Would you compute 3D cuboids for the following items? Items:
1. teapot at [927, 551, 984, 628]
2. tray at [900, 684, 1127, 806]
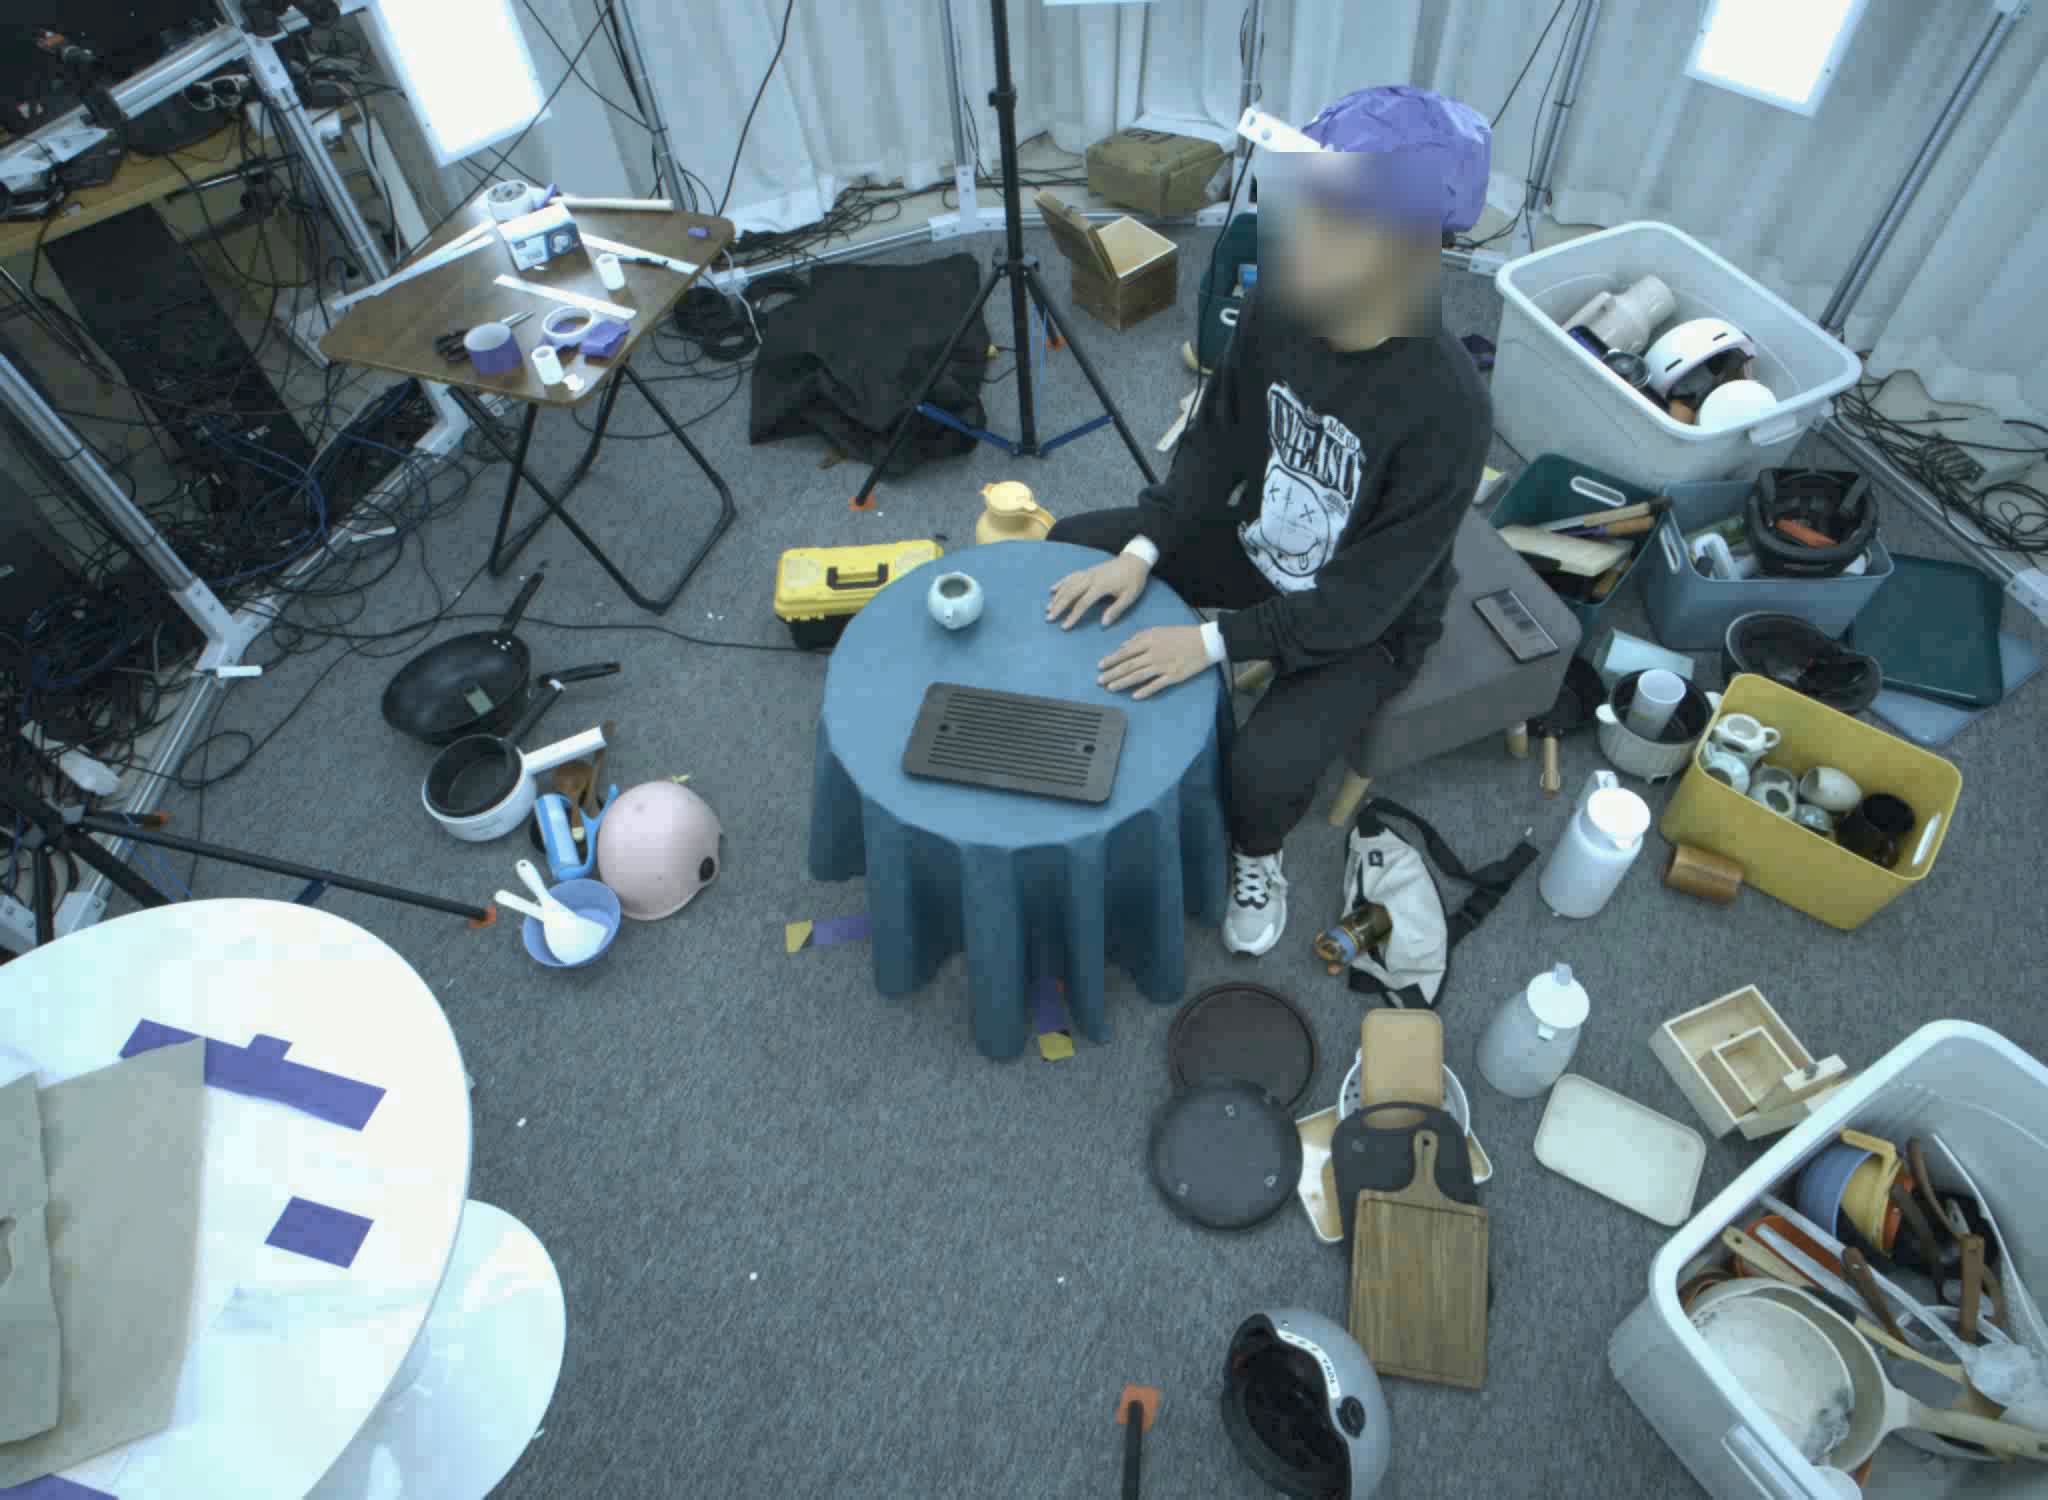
[{"bbox_3d":[-0.108,-0.236,1.910,0.088,0.075,0.143,4,56,6],"label":"teapot"},{"bbox_3d":[-0.013,-0.008,1.778,0.304,0.019,0.169,9,55,8],"label":"tray"}]
